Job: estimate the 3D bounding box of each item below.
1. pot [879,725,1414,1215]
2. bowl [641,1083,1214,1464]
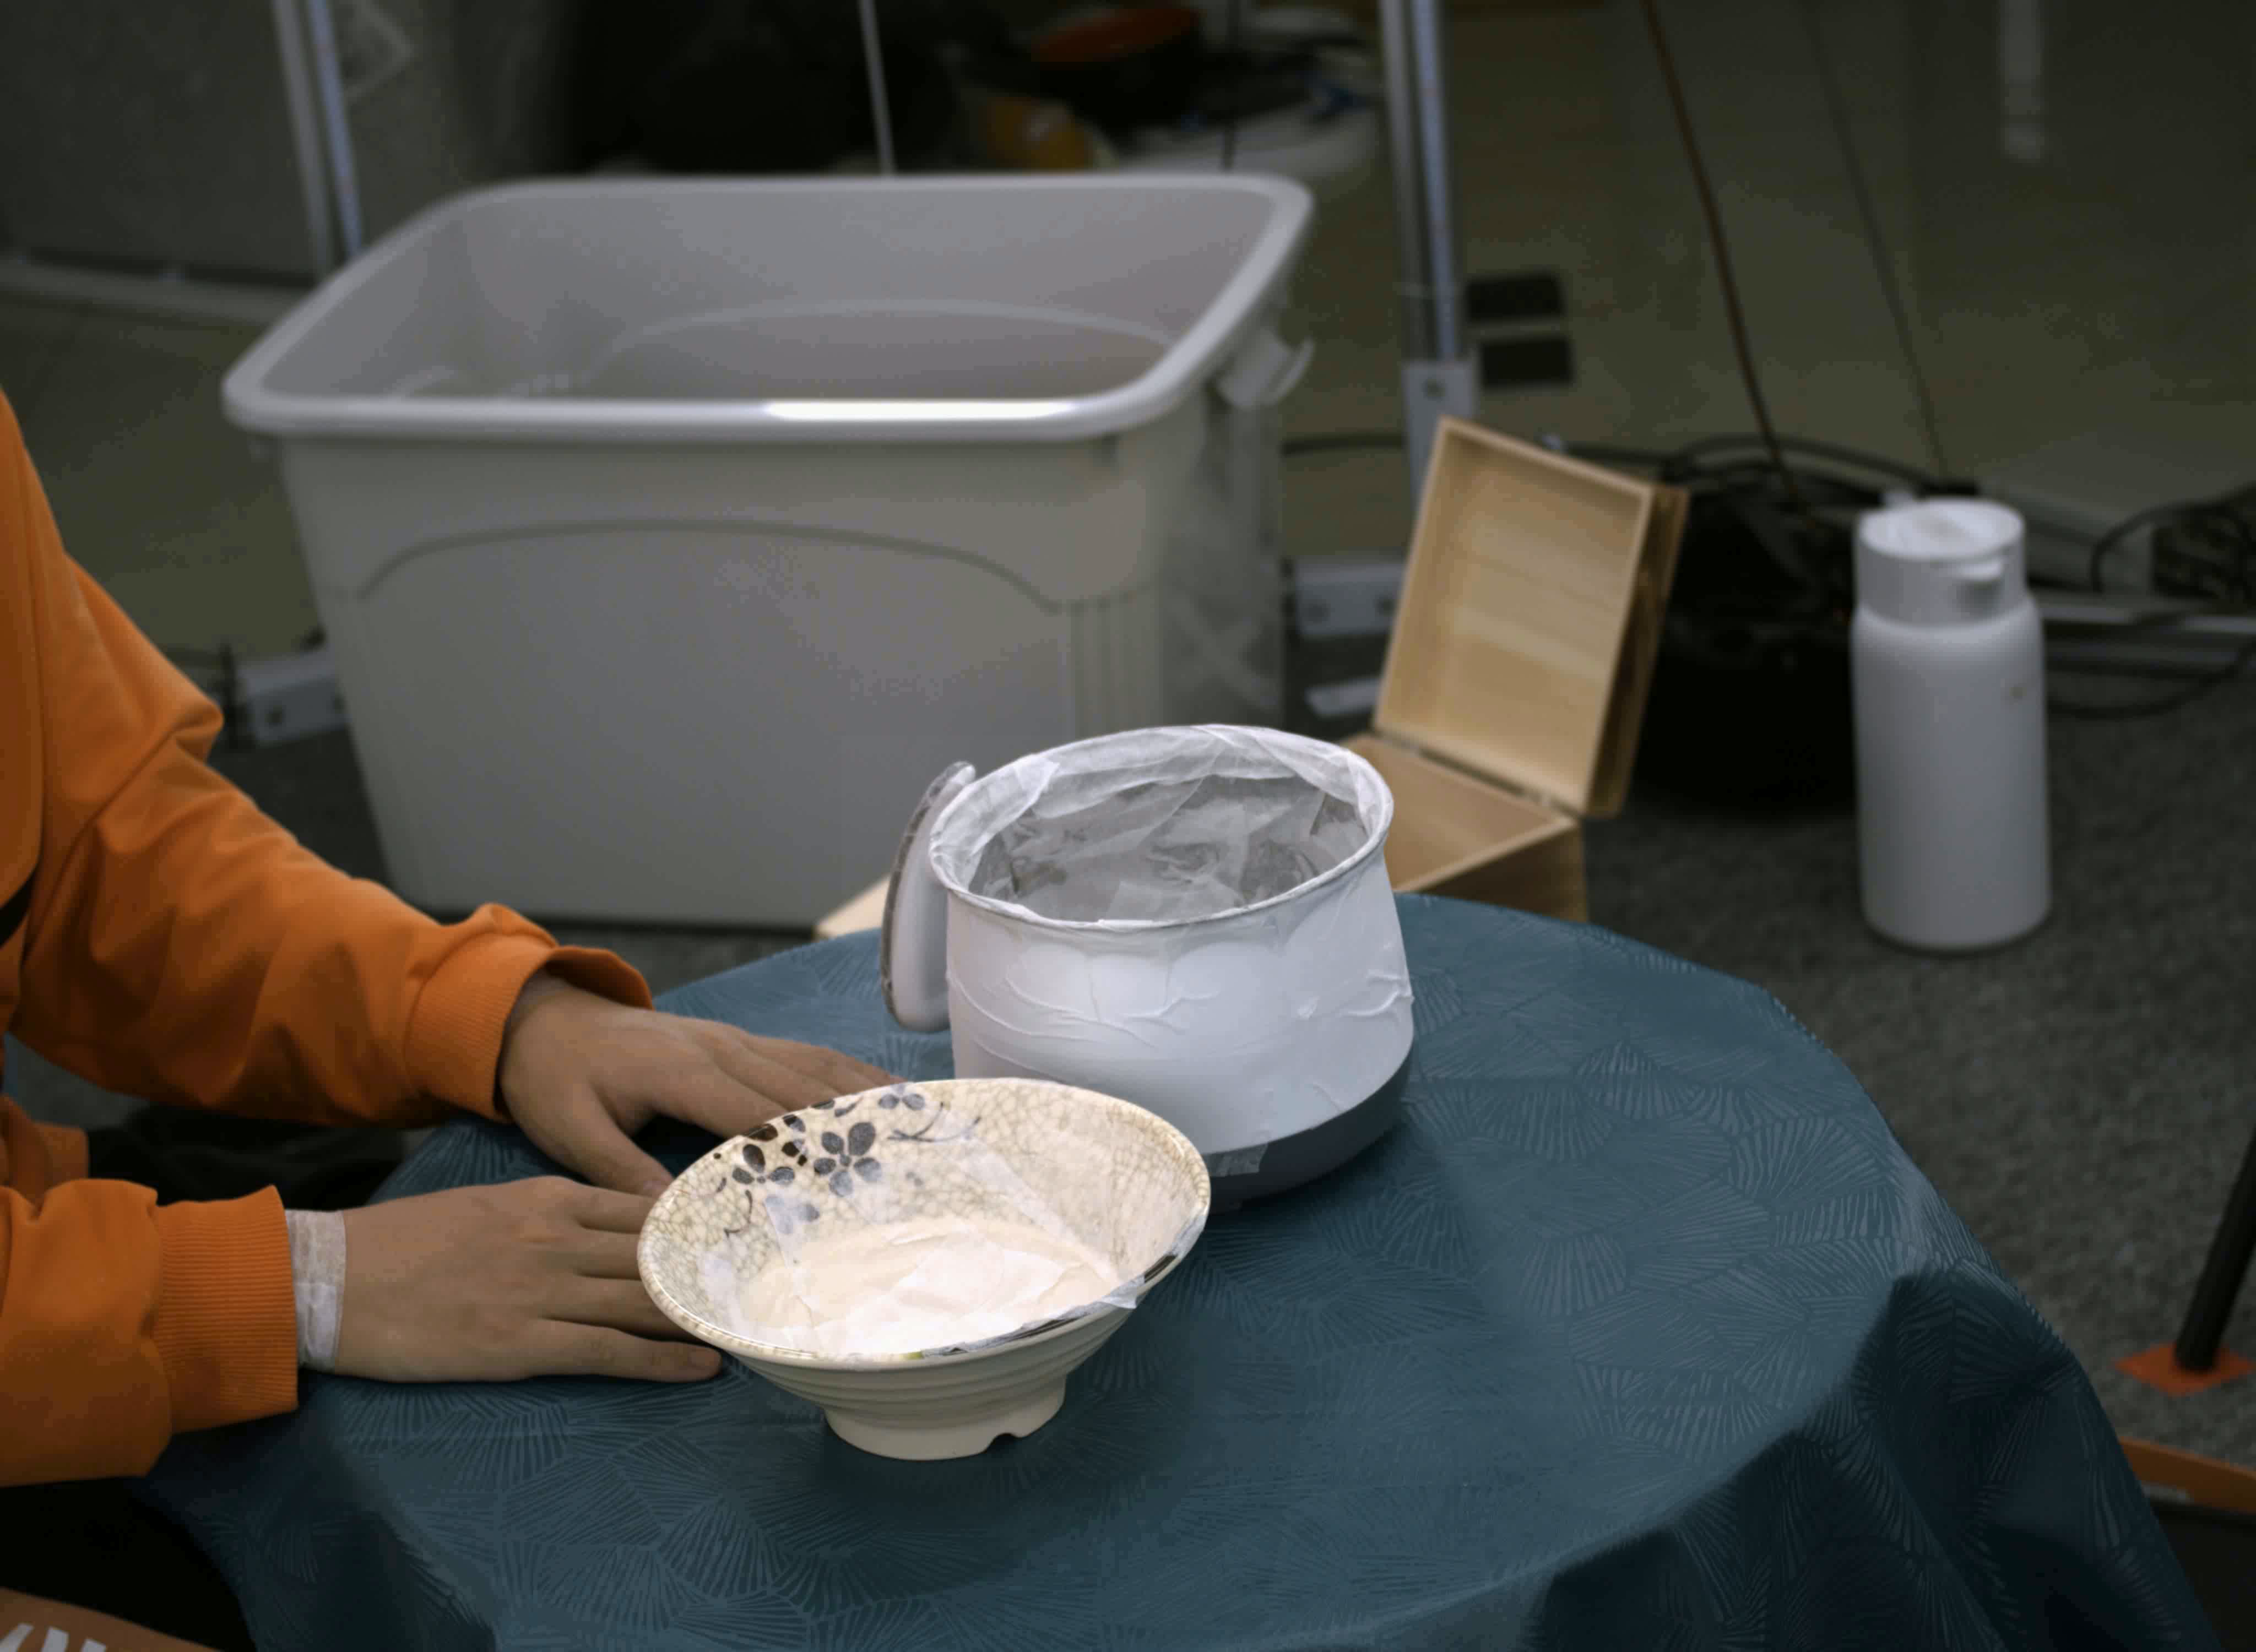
[{"bbox_3d":[-0.004,0.051,2.172,0.232,0.139,0.177,13,31,35],"label":"pot"},{"bbox_3d":[-0.066,0.170,2.007,0.204,0.079,0.201,-7,25,3],"label":"bowl"}]
